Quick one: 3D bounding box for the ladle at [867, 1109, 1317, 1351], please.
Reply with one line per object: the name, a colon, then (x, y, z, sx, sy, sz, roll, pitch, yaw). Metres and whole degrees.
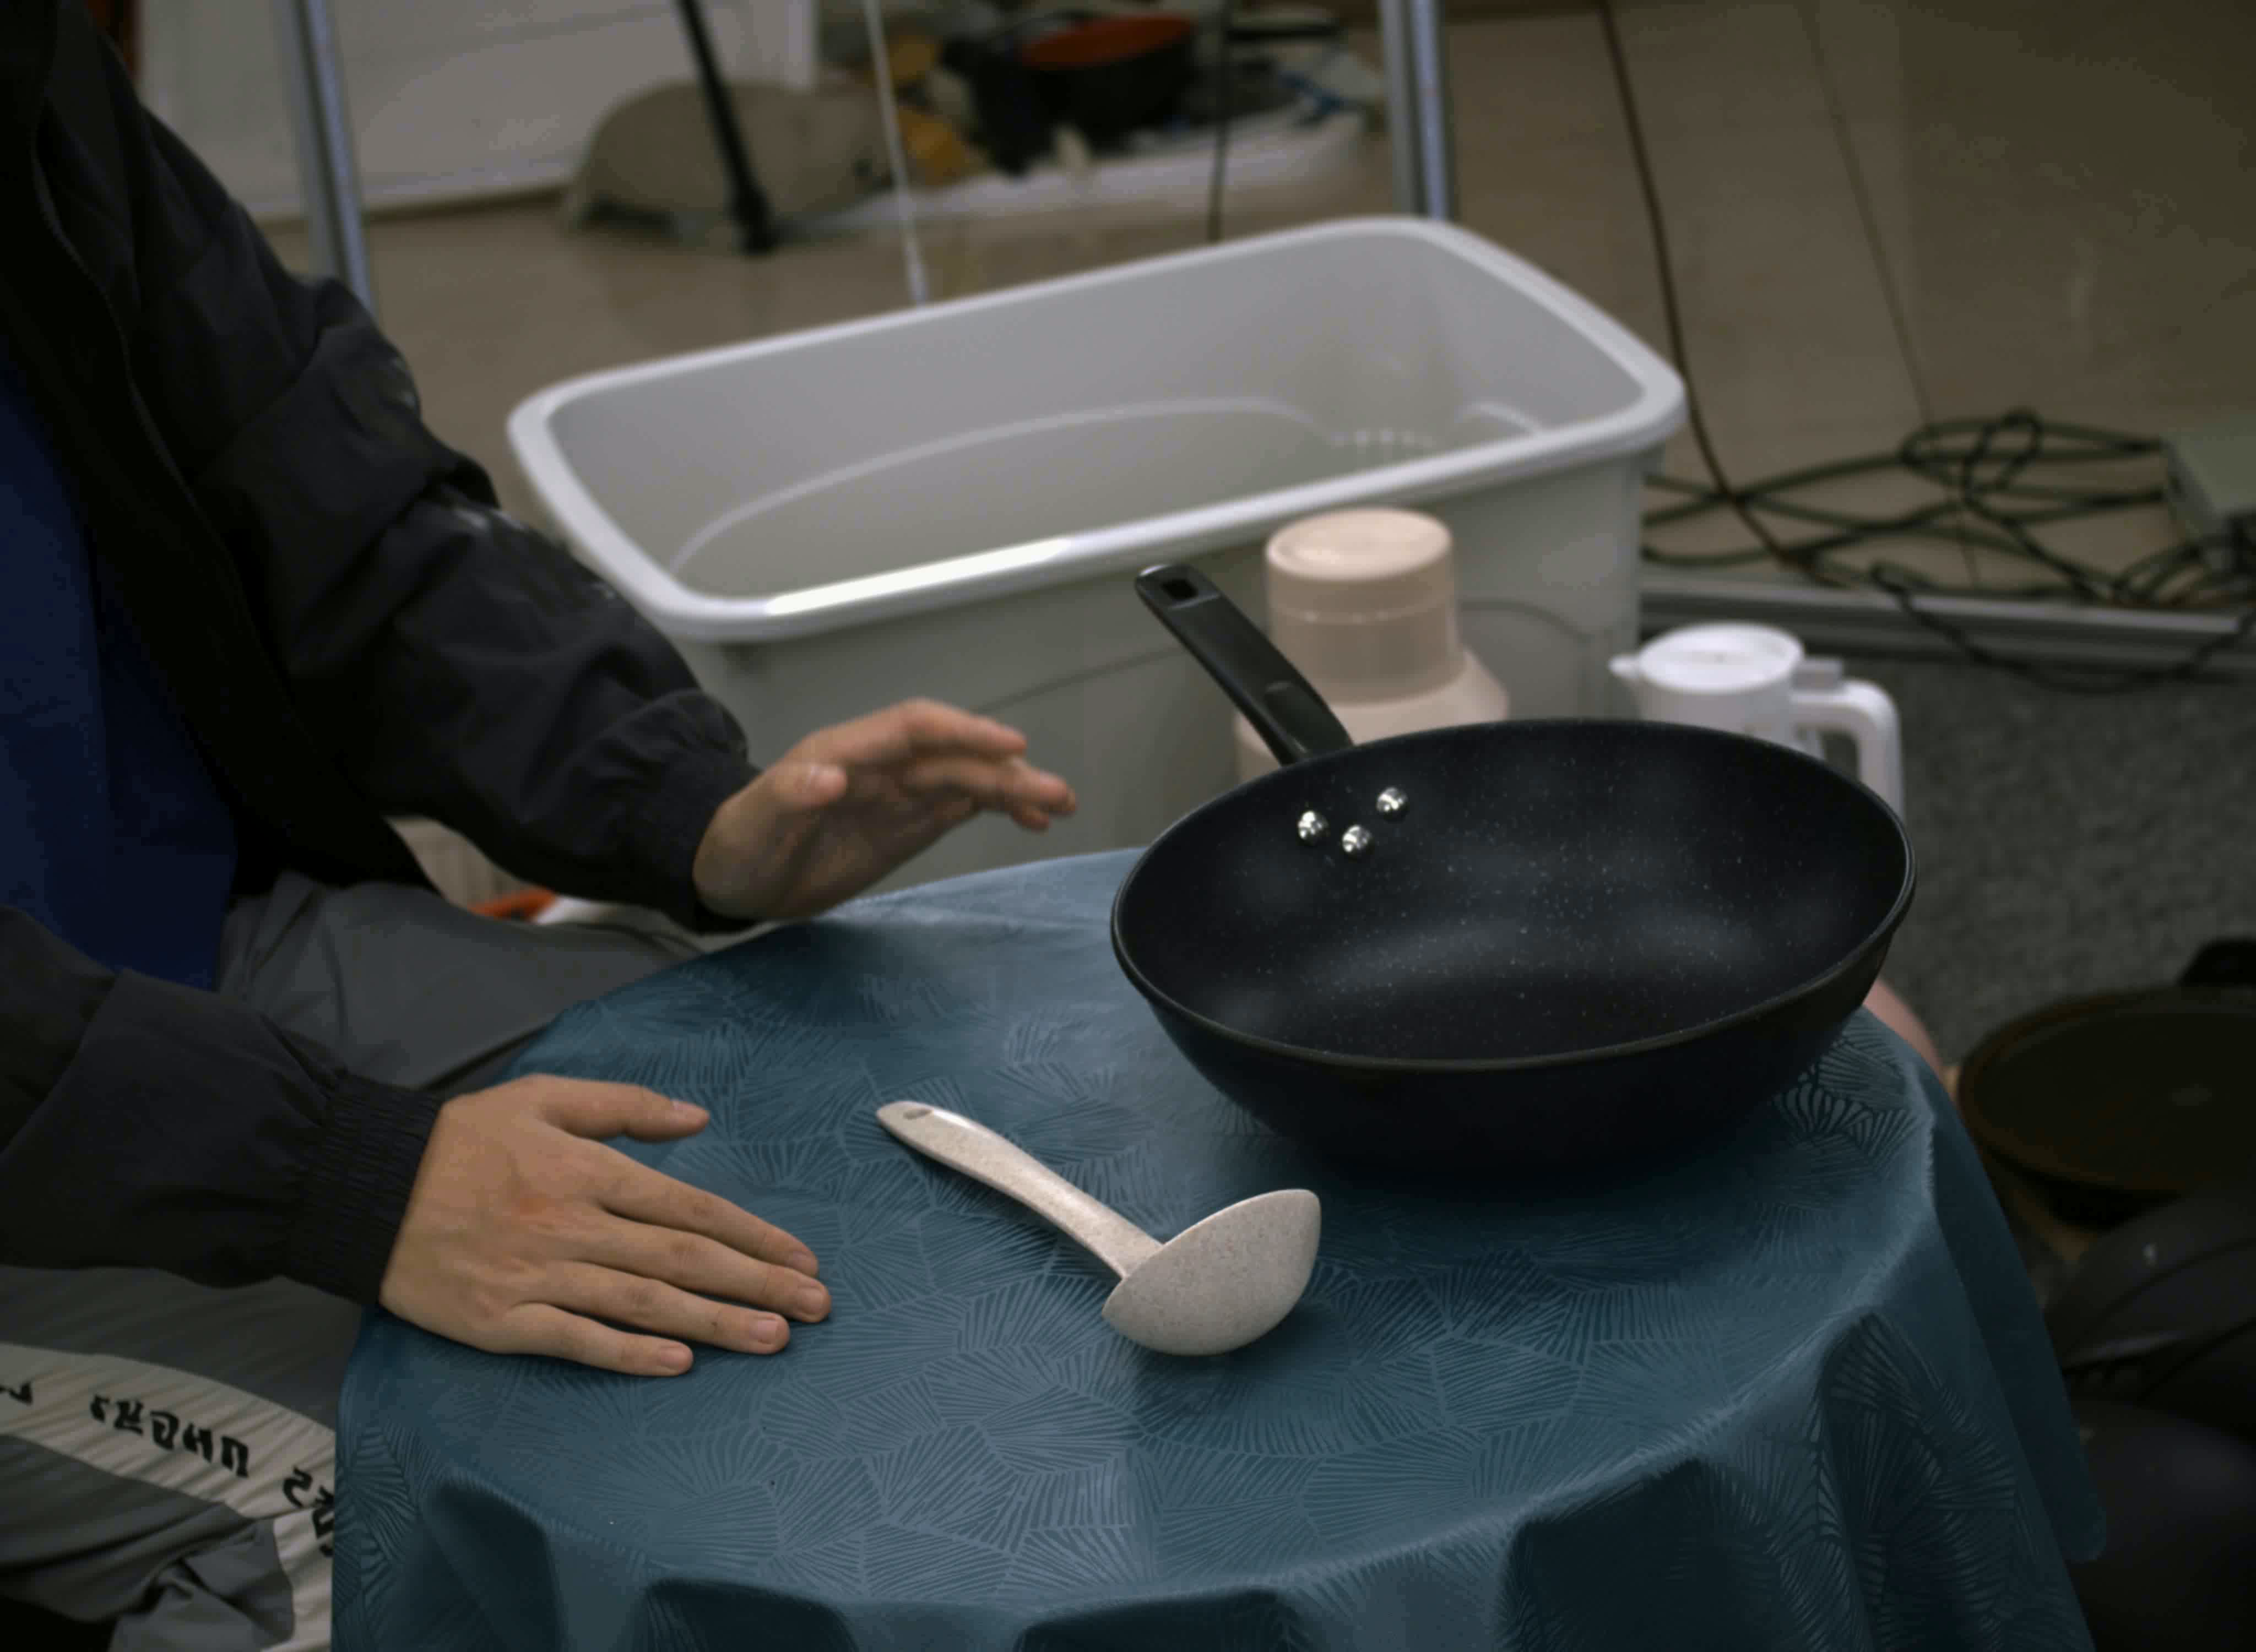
ladle: (-0.029, 0.124, 2.104, 0.089, 0.070, 0.272, -28, 30, -24)

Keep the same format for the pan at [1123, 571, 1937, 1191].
pan: (0.119, 0.023, 2.240, 0.309, 0.113, 0.471, -15, 26, -20)
